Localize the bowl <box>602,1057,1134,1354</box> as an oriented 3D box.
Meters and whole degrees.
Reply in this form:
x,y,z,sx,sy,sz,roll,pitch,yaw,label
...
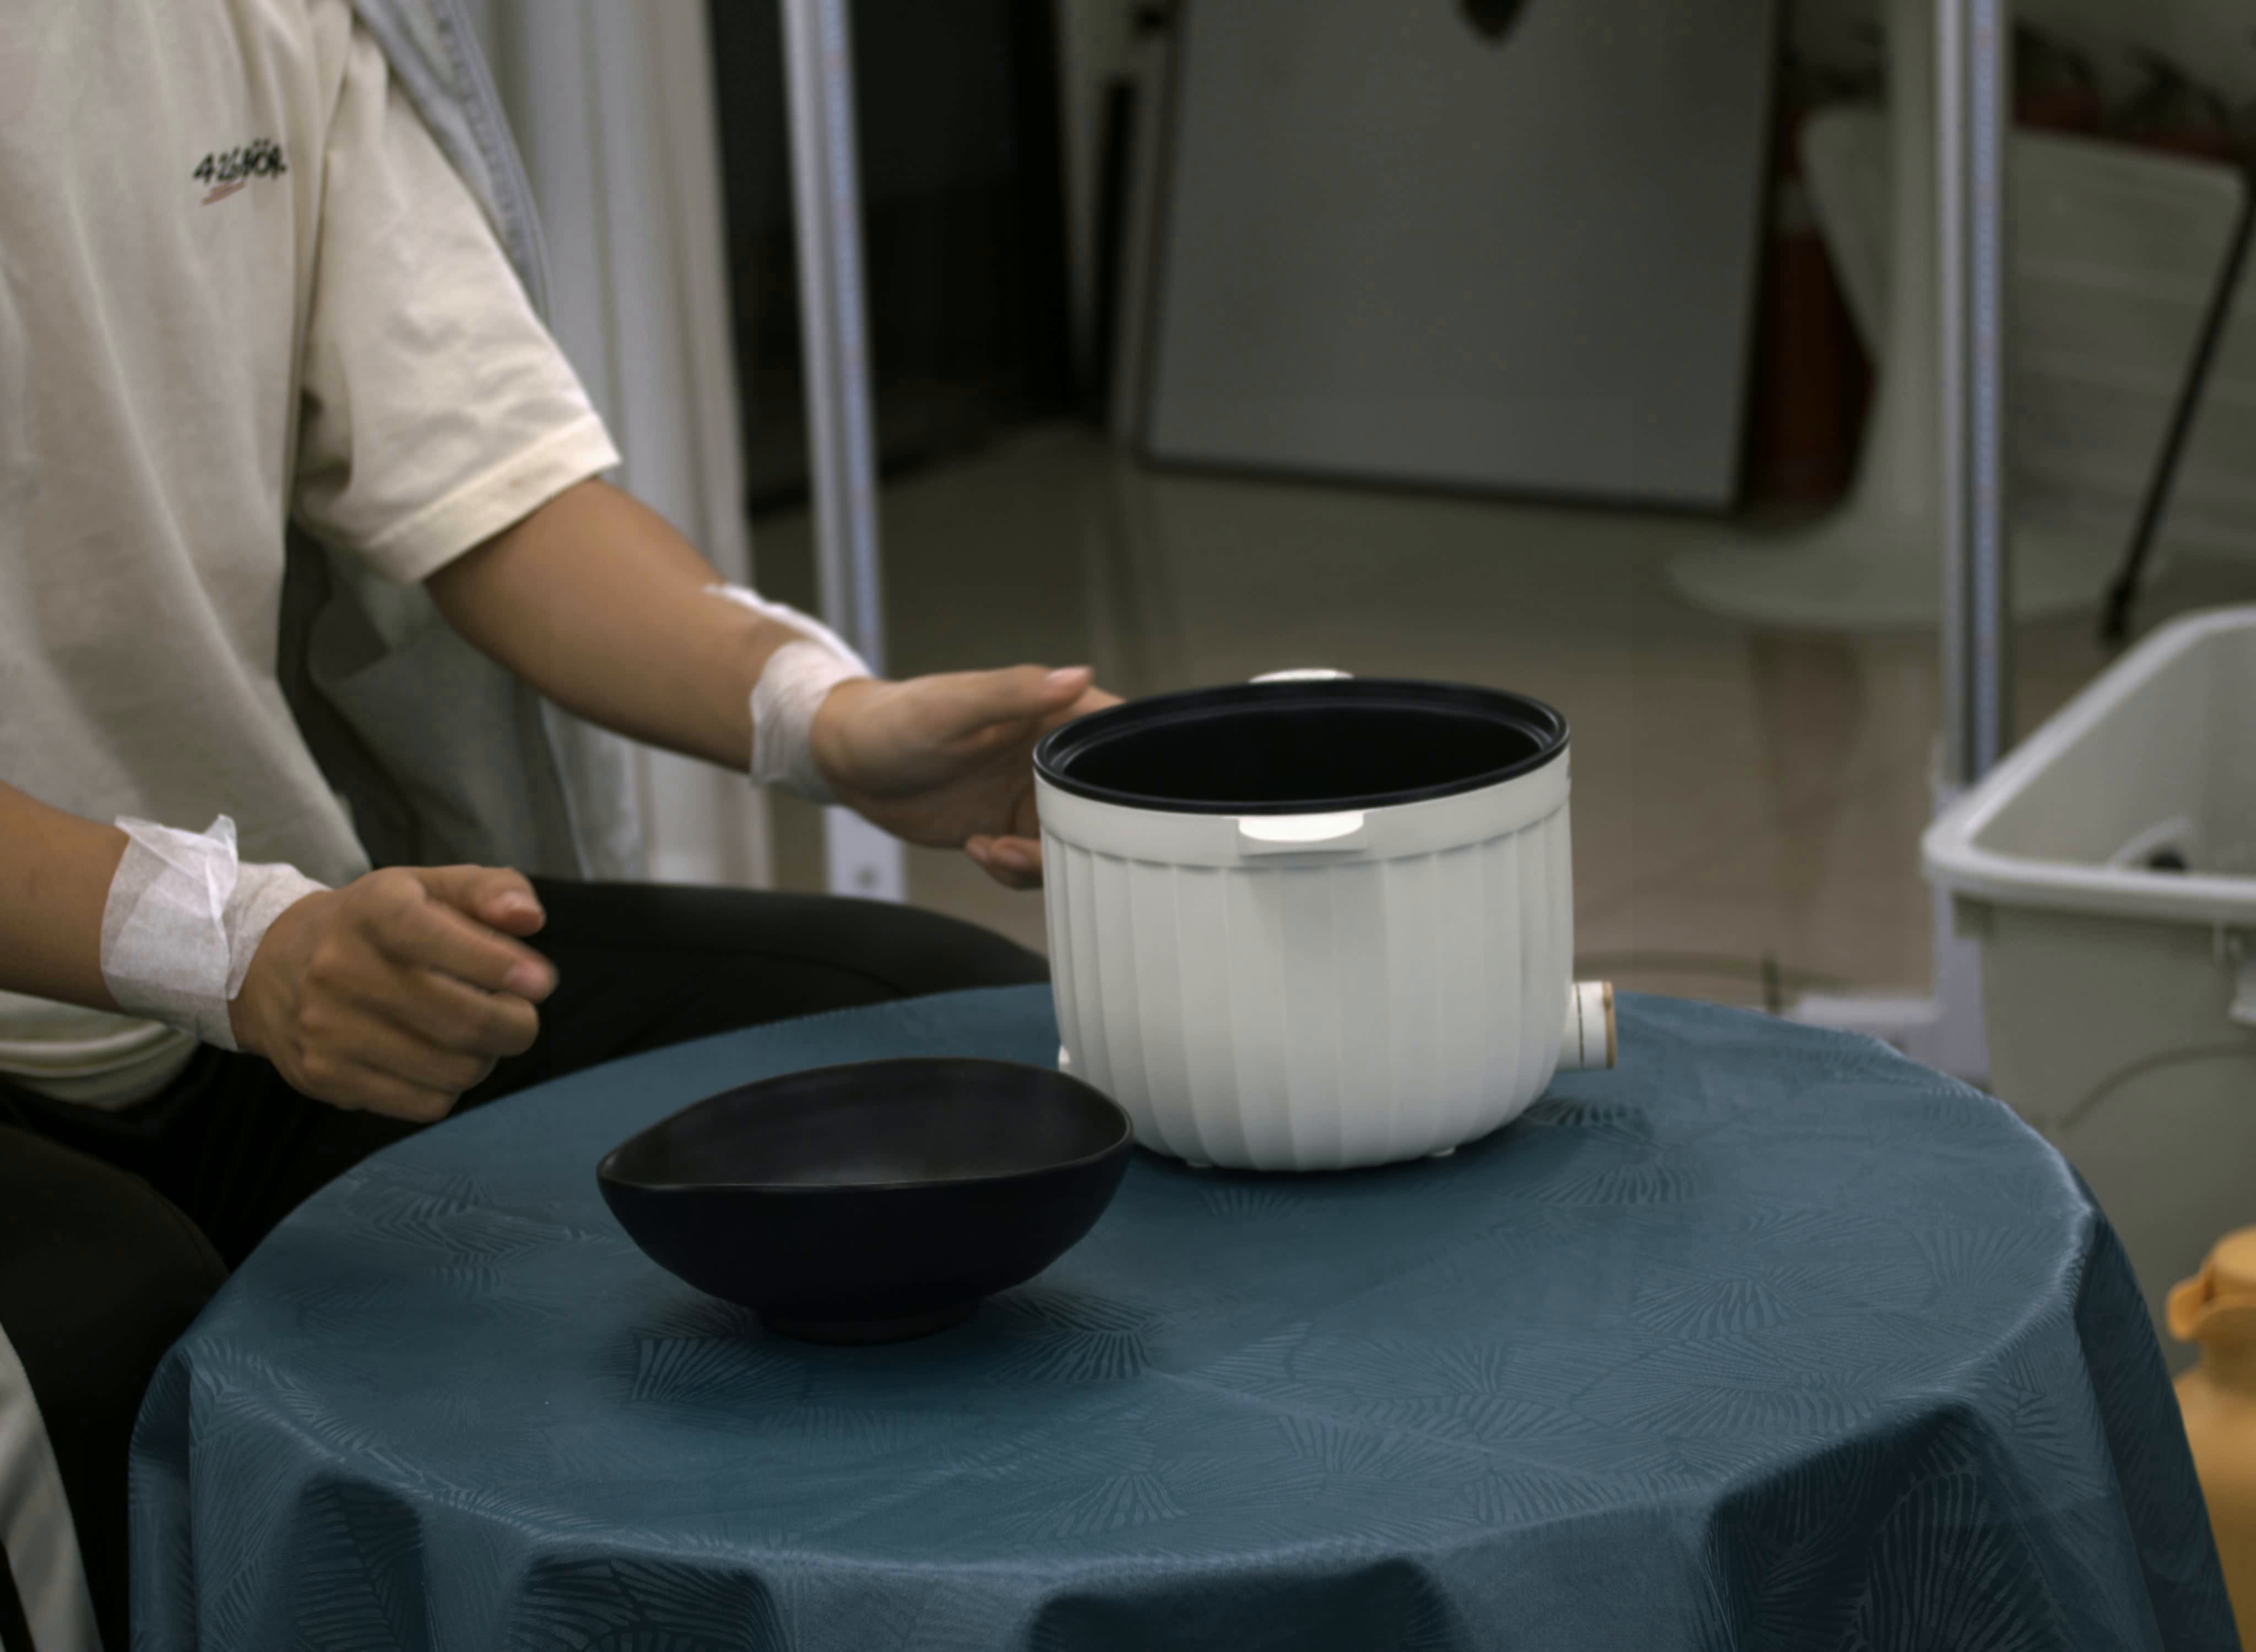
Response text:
x,y,z,sx,sy,sz,roll,pitch,yaw,label
-0.079,0.122,1.663,0.169,0.067,0.137,-2,13,11,bowl

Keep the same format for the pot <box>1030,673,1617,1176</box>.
x,y,z,sx,sy,sz,roll,pitch,yaw,label
0.067,0.034,1.818,0.188,0.144,0.240,-7,14,3,pot
